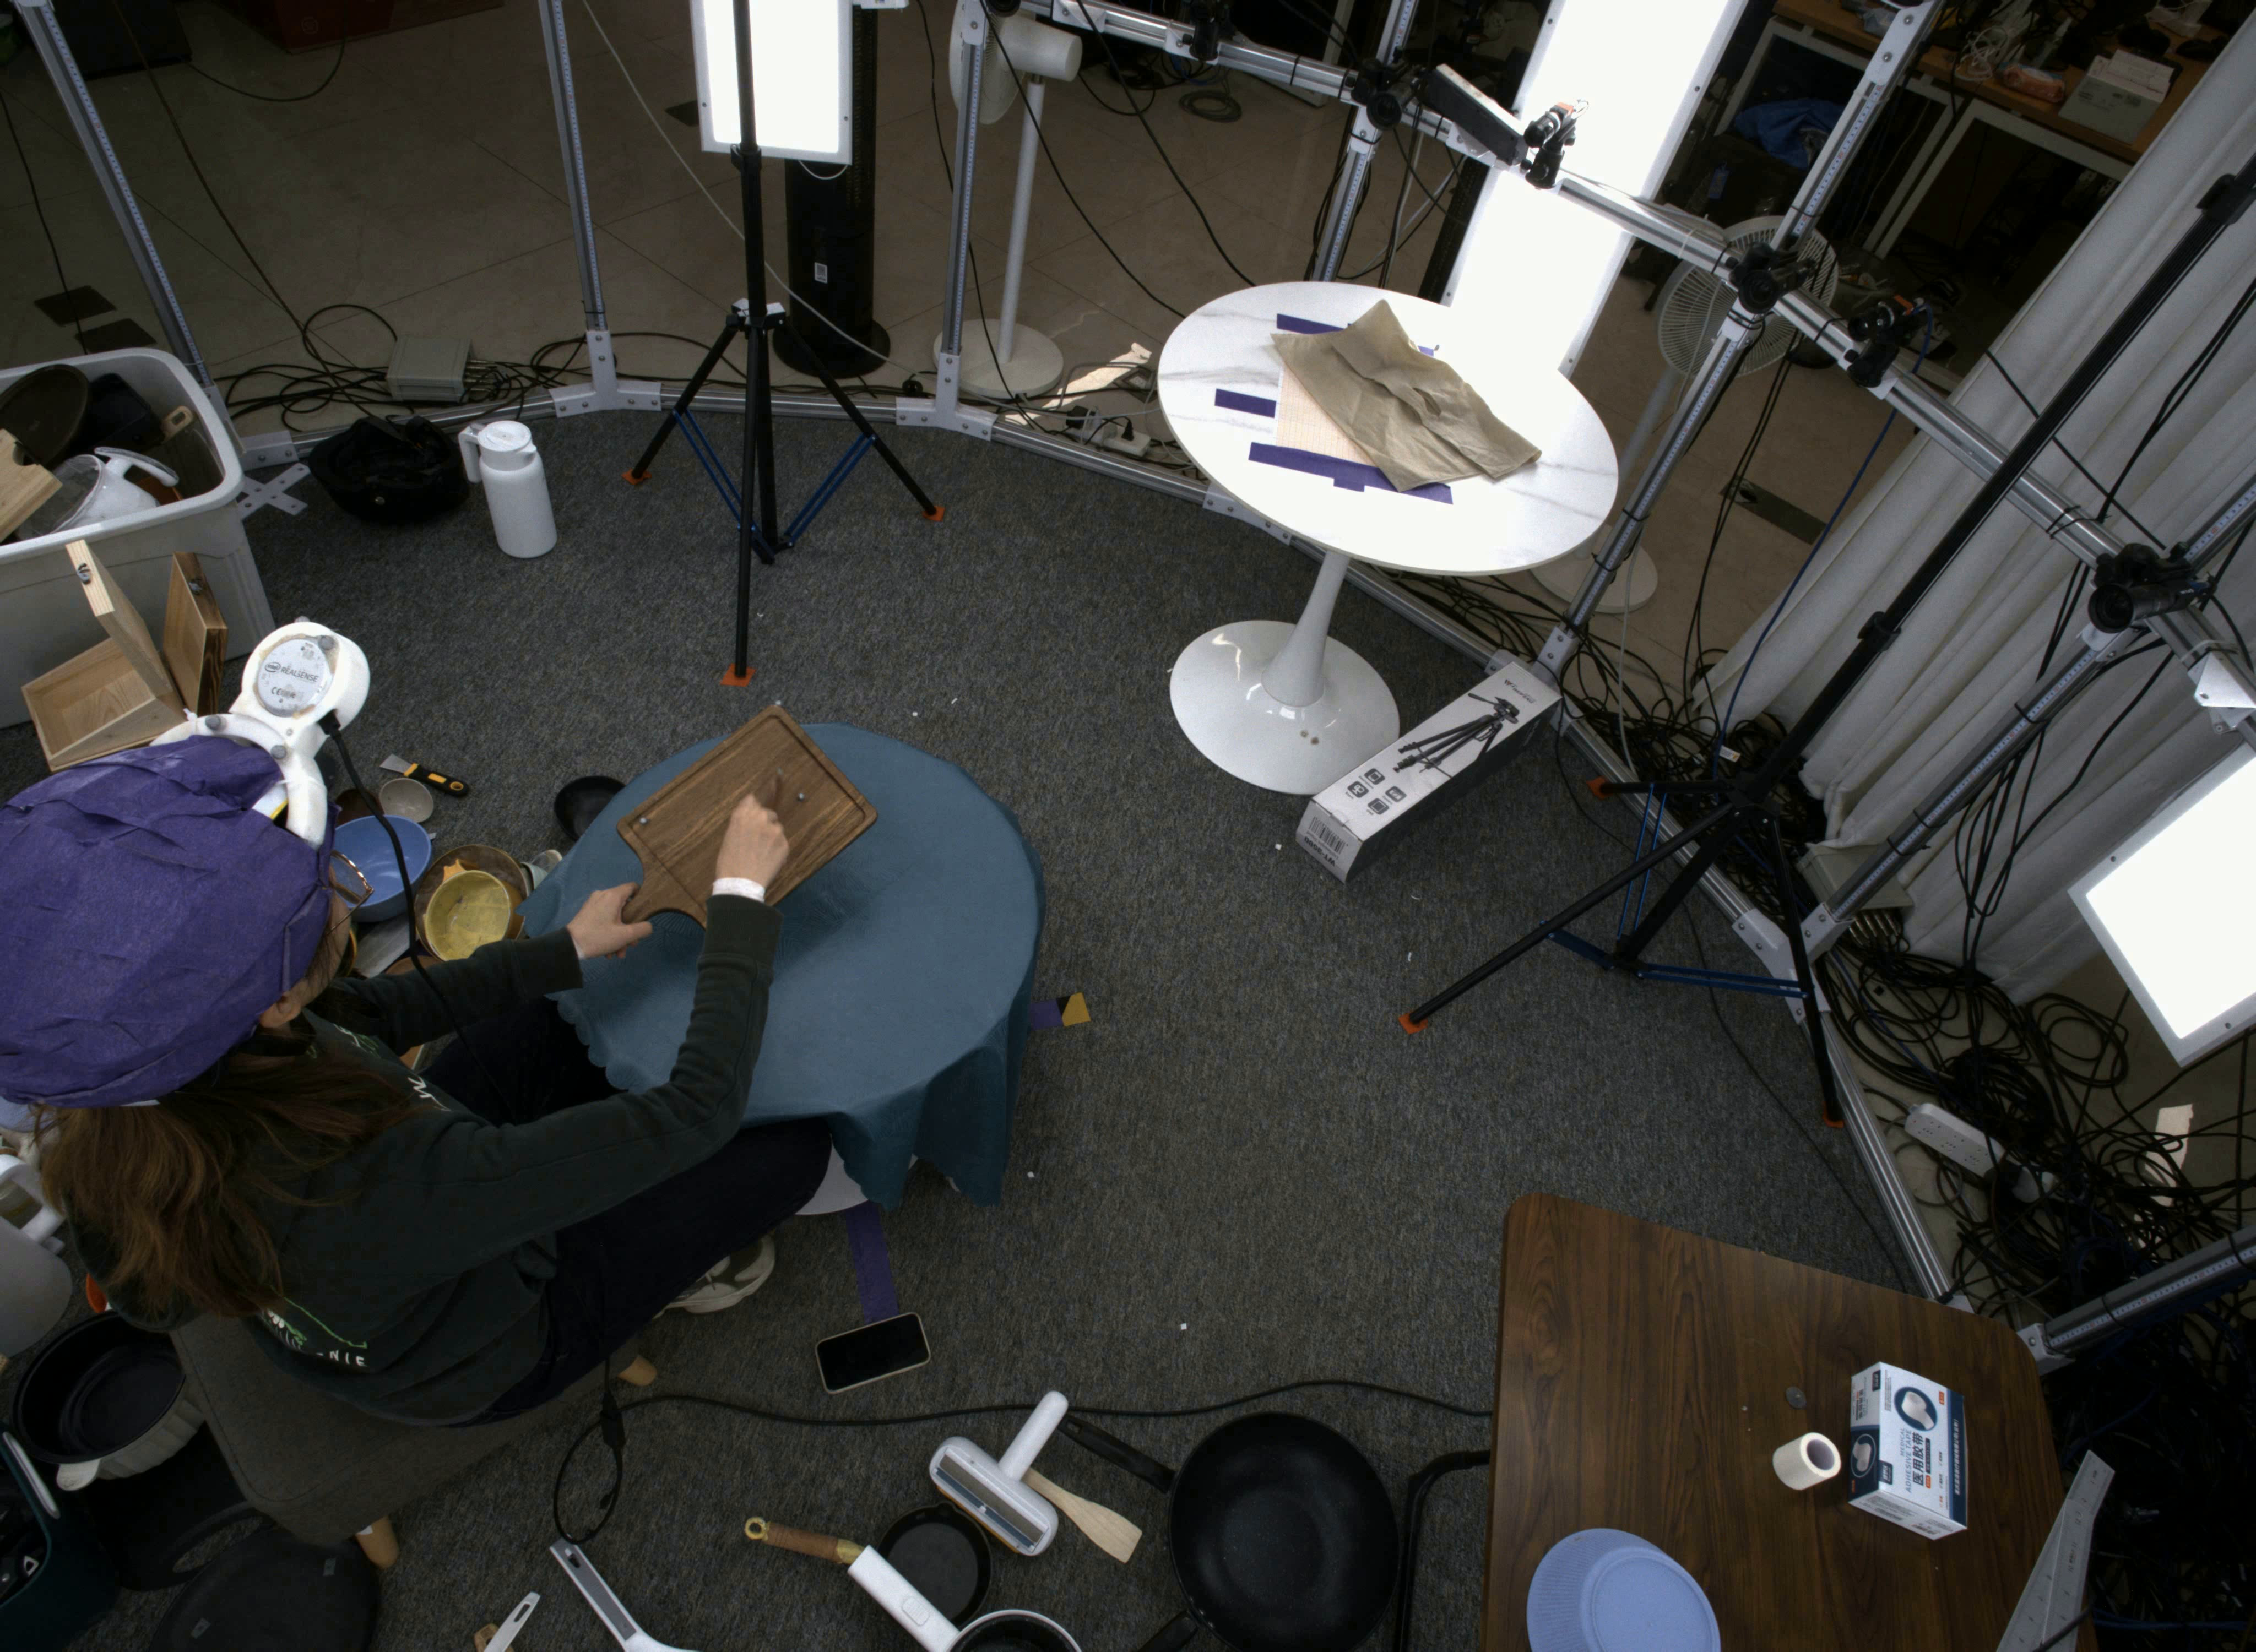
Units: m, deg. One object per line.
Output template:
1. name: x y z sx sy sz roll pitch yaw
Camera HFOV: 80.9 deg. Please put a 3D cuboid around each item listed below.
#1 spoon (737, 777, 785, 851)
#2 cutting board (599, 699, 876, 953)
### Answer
1. spoon: -0.404 -0.008 1.427 0.017 0.076 0.212 20 9 -10
2. cutting board: -0.495 0.024 1.551 0.352 0.023 0.202 -43 94 -22
